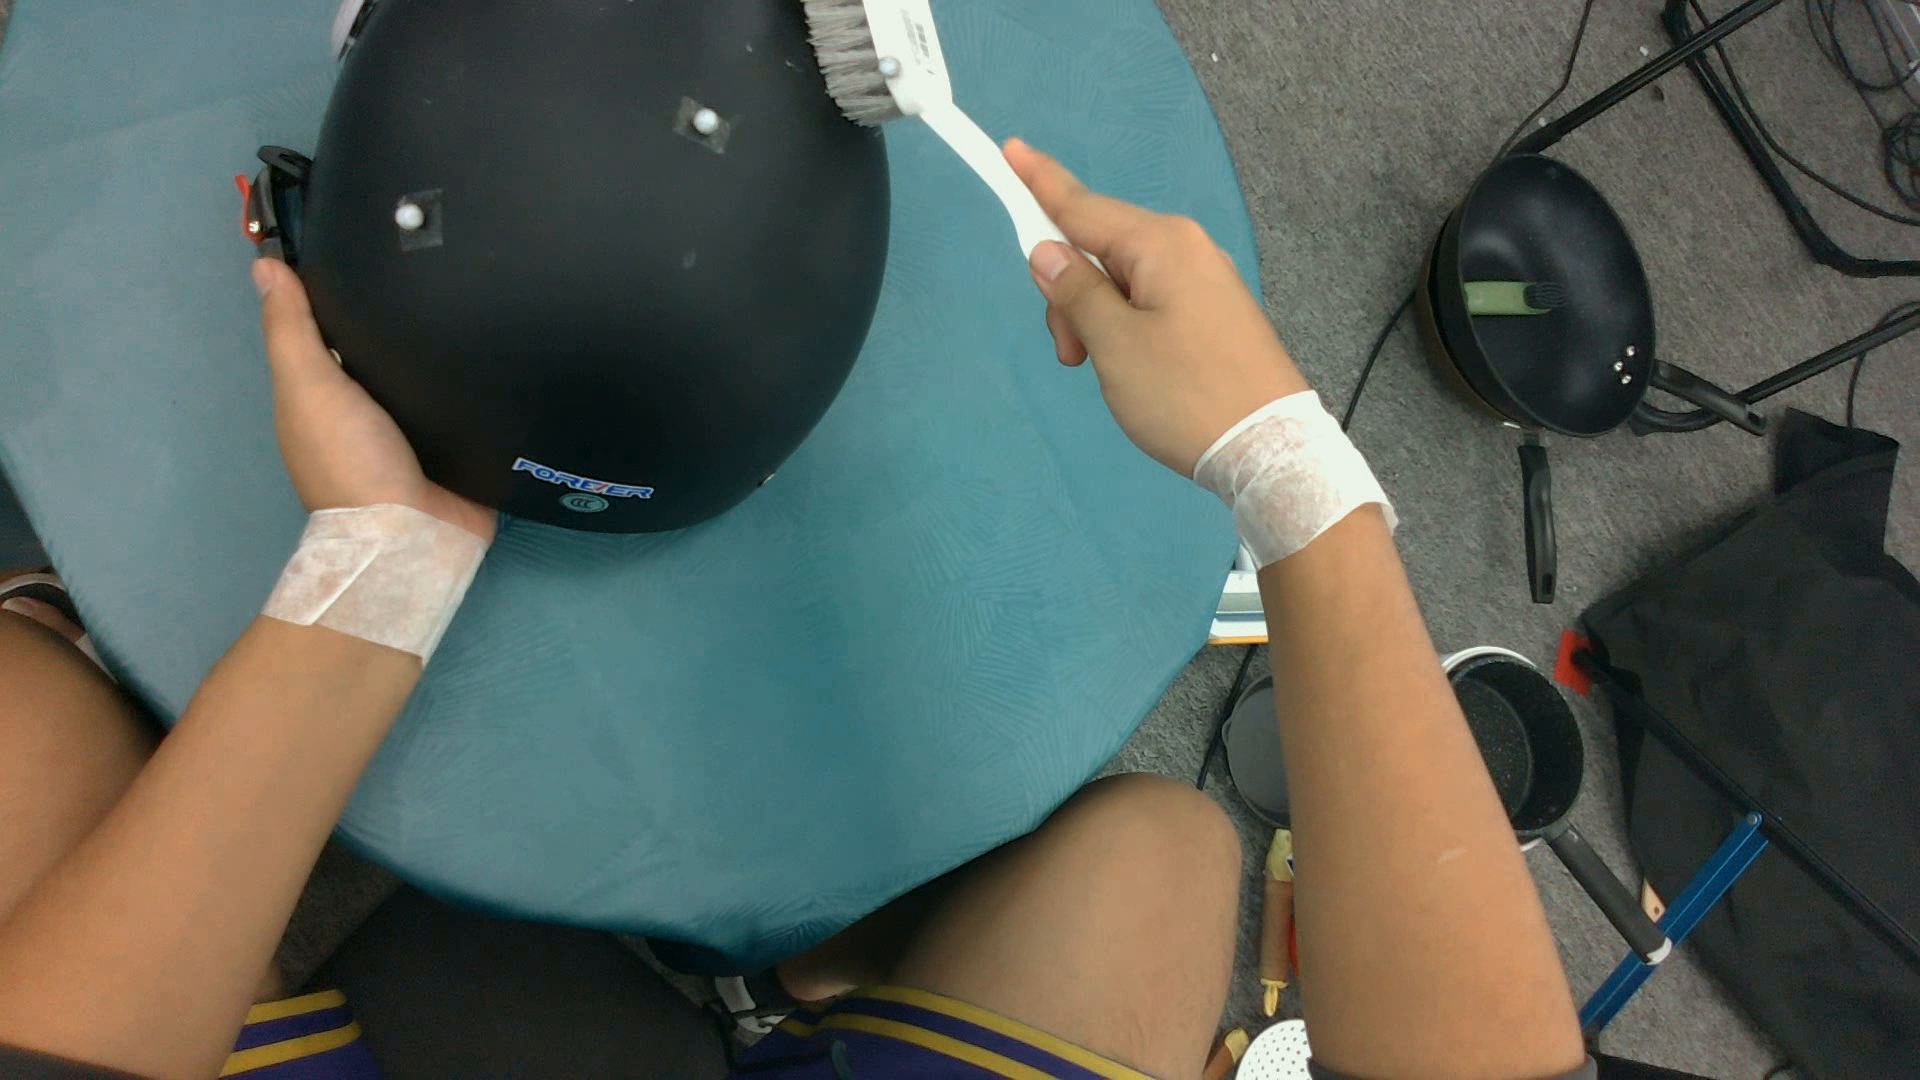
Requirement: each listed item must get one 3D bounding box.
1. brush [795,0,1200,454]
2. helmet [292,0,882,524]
[{"bbox_3d":[0.007,-0.126,0.512,0.244,0.050,0.034,59,25,4],"label":"brush"},{"bbox_3d":[-0.130,-0.148,0.546,0.230,0.166,0.274,18,70,-29],"label":"helmet"}]
